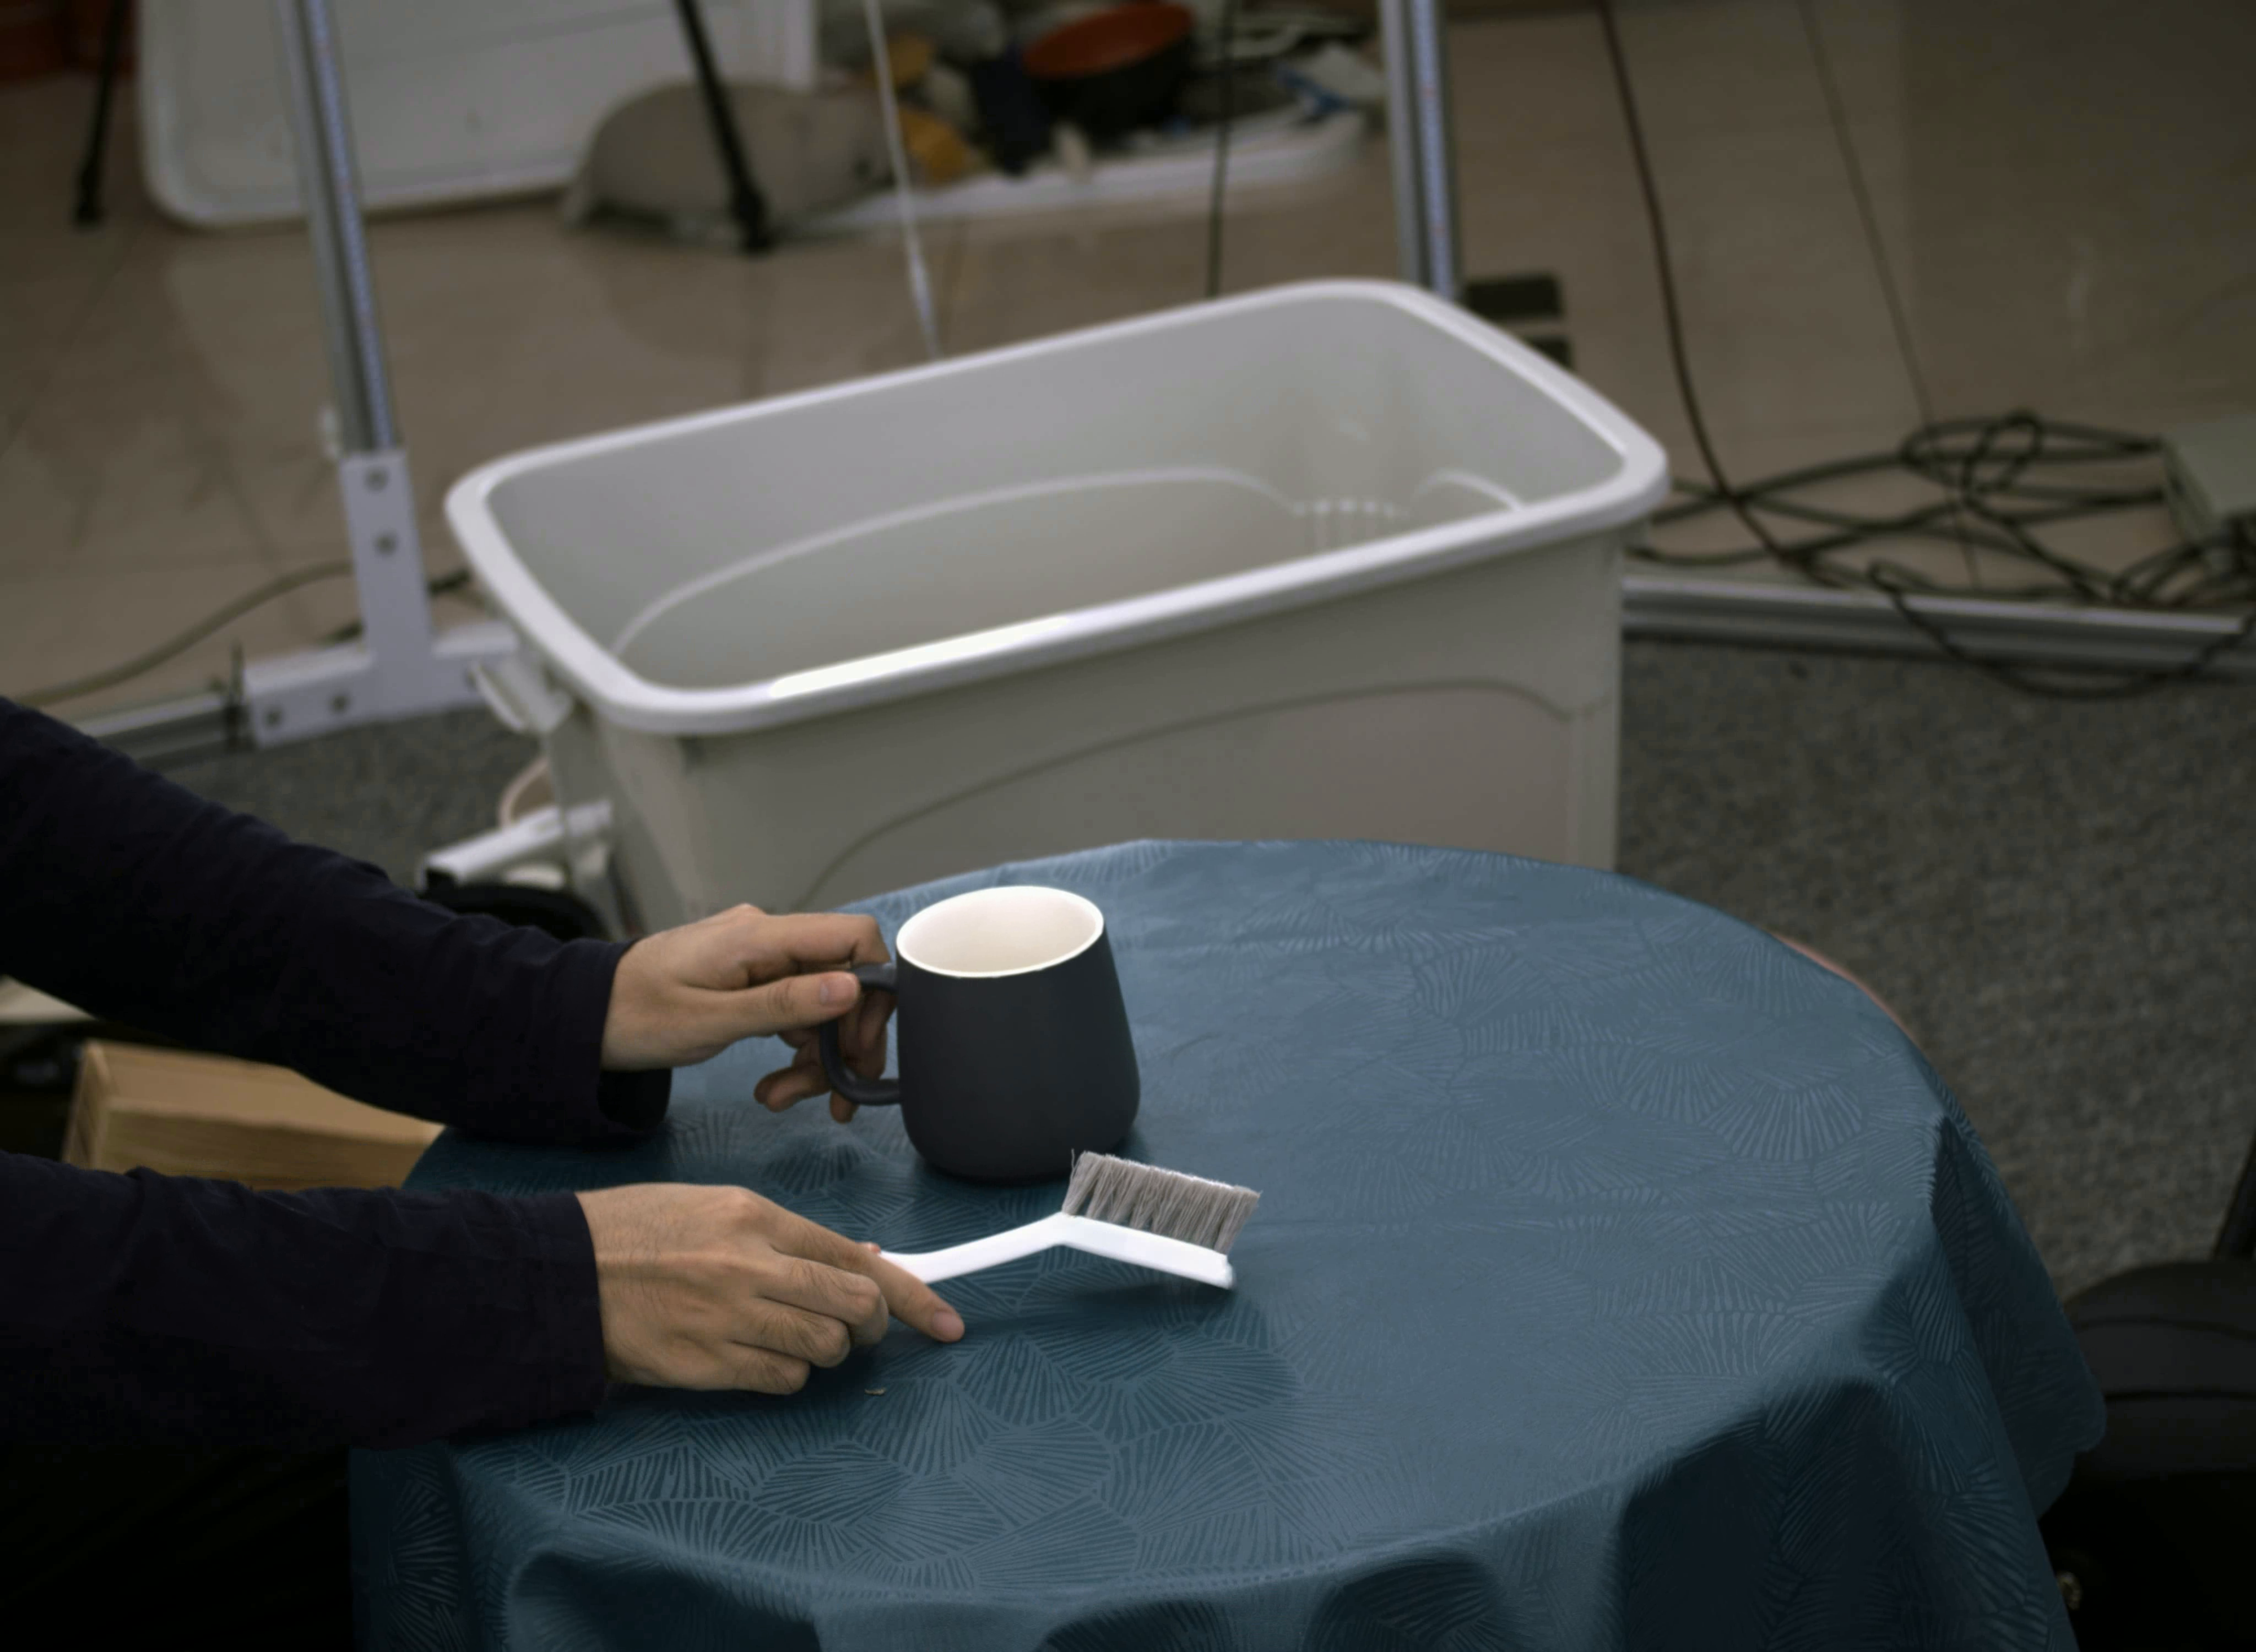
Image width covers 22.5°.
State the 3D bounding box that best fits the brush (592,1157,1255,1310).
[{"bbox_3d":[-0.075,0.148,2.066,0.243,0.050,0.034,-2,6,2],"label":"brush"}]

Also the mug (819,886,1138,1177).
[{"bbox_3d":[-0.059,0.079,2.179,0.123,0.091,0.092,1,25,13],"label":"mug"}]
